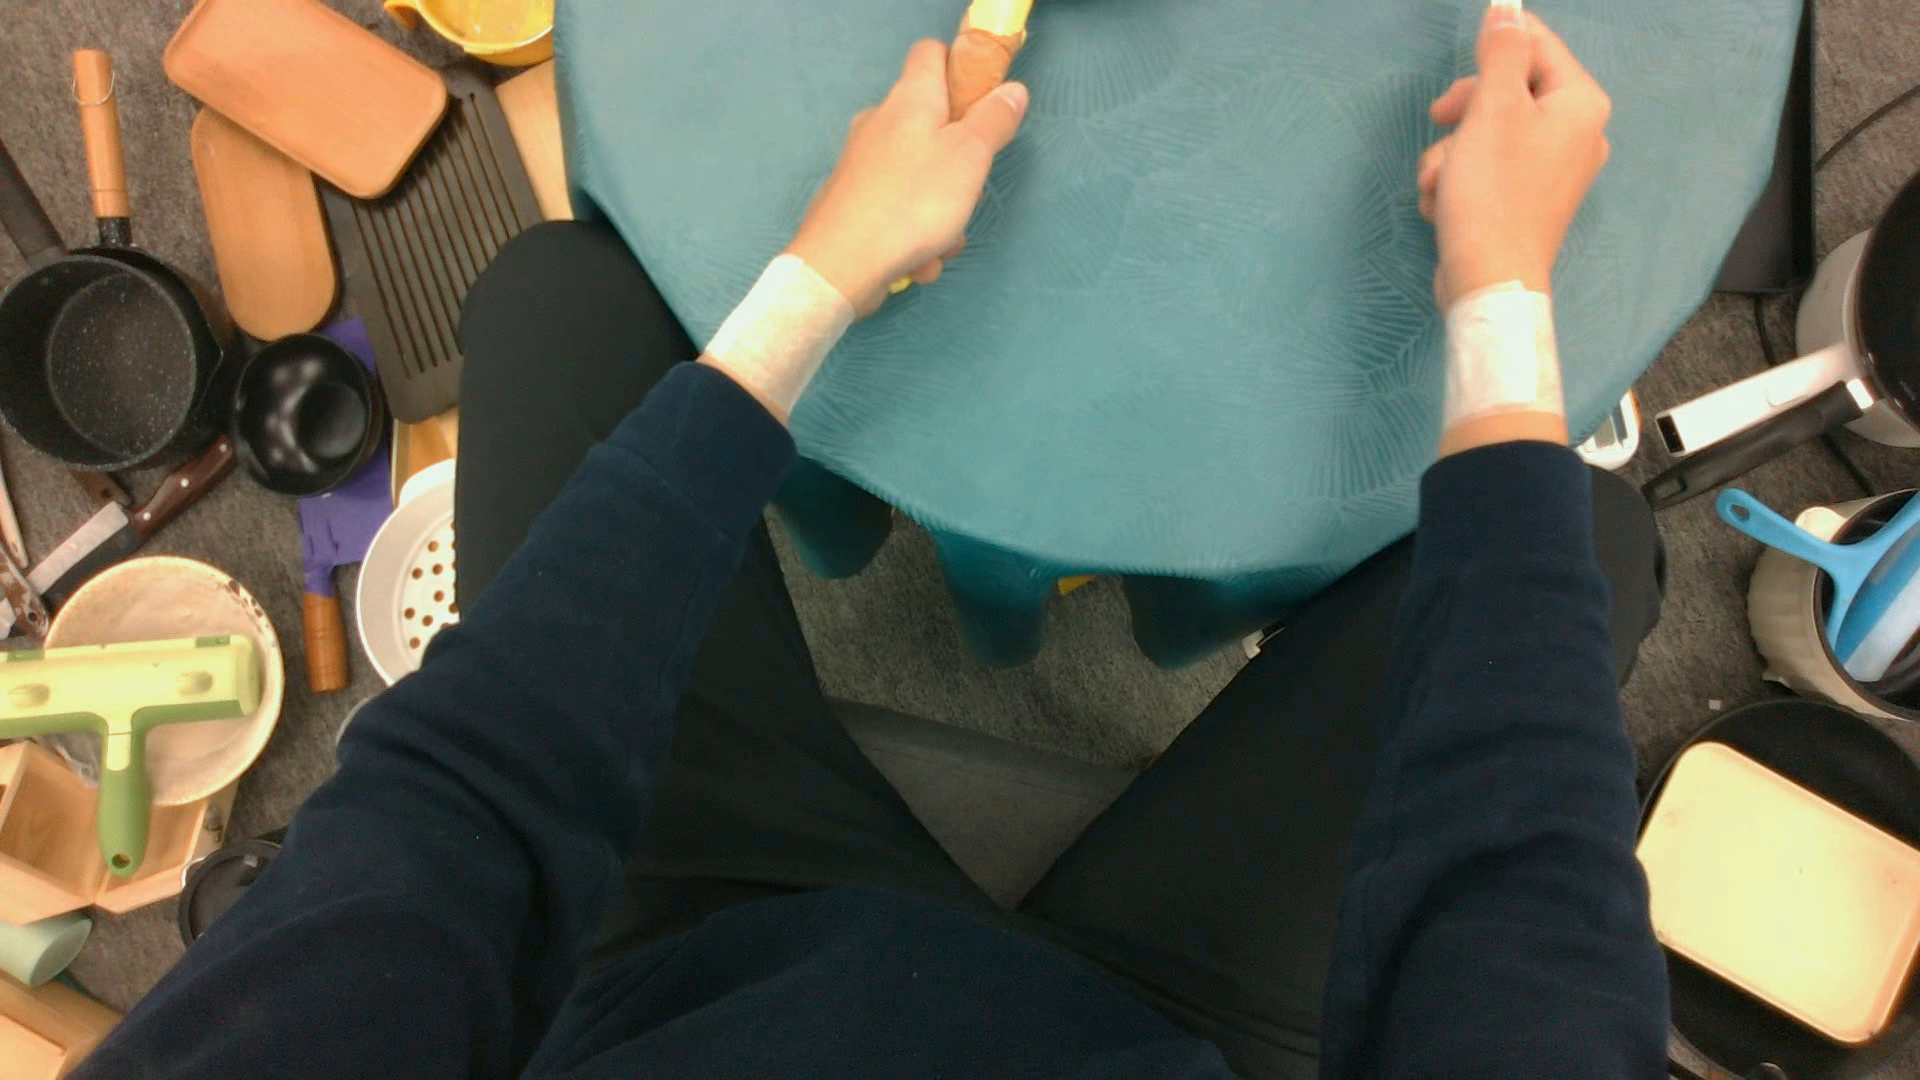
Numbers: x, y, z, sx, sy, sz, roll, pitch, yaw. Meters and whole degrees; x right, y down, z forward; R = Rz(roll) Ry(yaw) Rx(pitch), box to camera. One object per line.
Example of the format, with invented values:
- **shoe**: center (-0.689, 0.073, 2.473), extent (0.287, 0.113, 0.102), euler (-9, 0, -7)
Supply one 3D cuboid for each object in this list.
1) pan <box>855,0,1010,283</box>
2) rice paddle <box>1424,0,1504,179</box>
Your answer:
- **pan**: center (0.016, -0.266, 0.628), extent (0.169, 0.049, 0.324), euler (24, 86, -12)
- **rice paddle**: center (0.241, -0.266, 0.625), extent (0.029, 0.068, 0.205), euler (11, 82, -8)
